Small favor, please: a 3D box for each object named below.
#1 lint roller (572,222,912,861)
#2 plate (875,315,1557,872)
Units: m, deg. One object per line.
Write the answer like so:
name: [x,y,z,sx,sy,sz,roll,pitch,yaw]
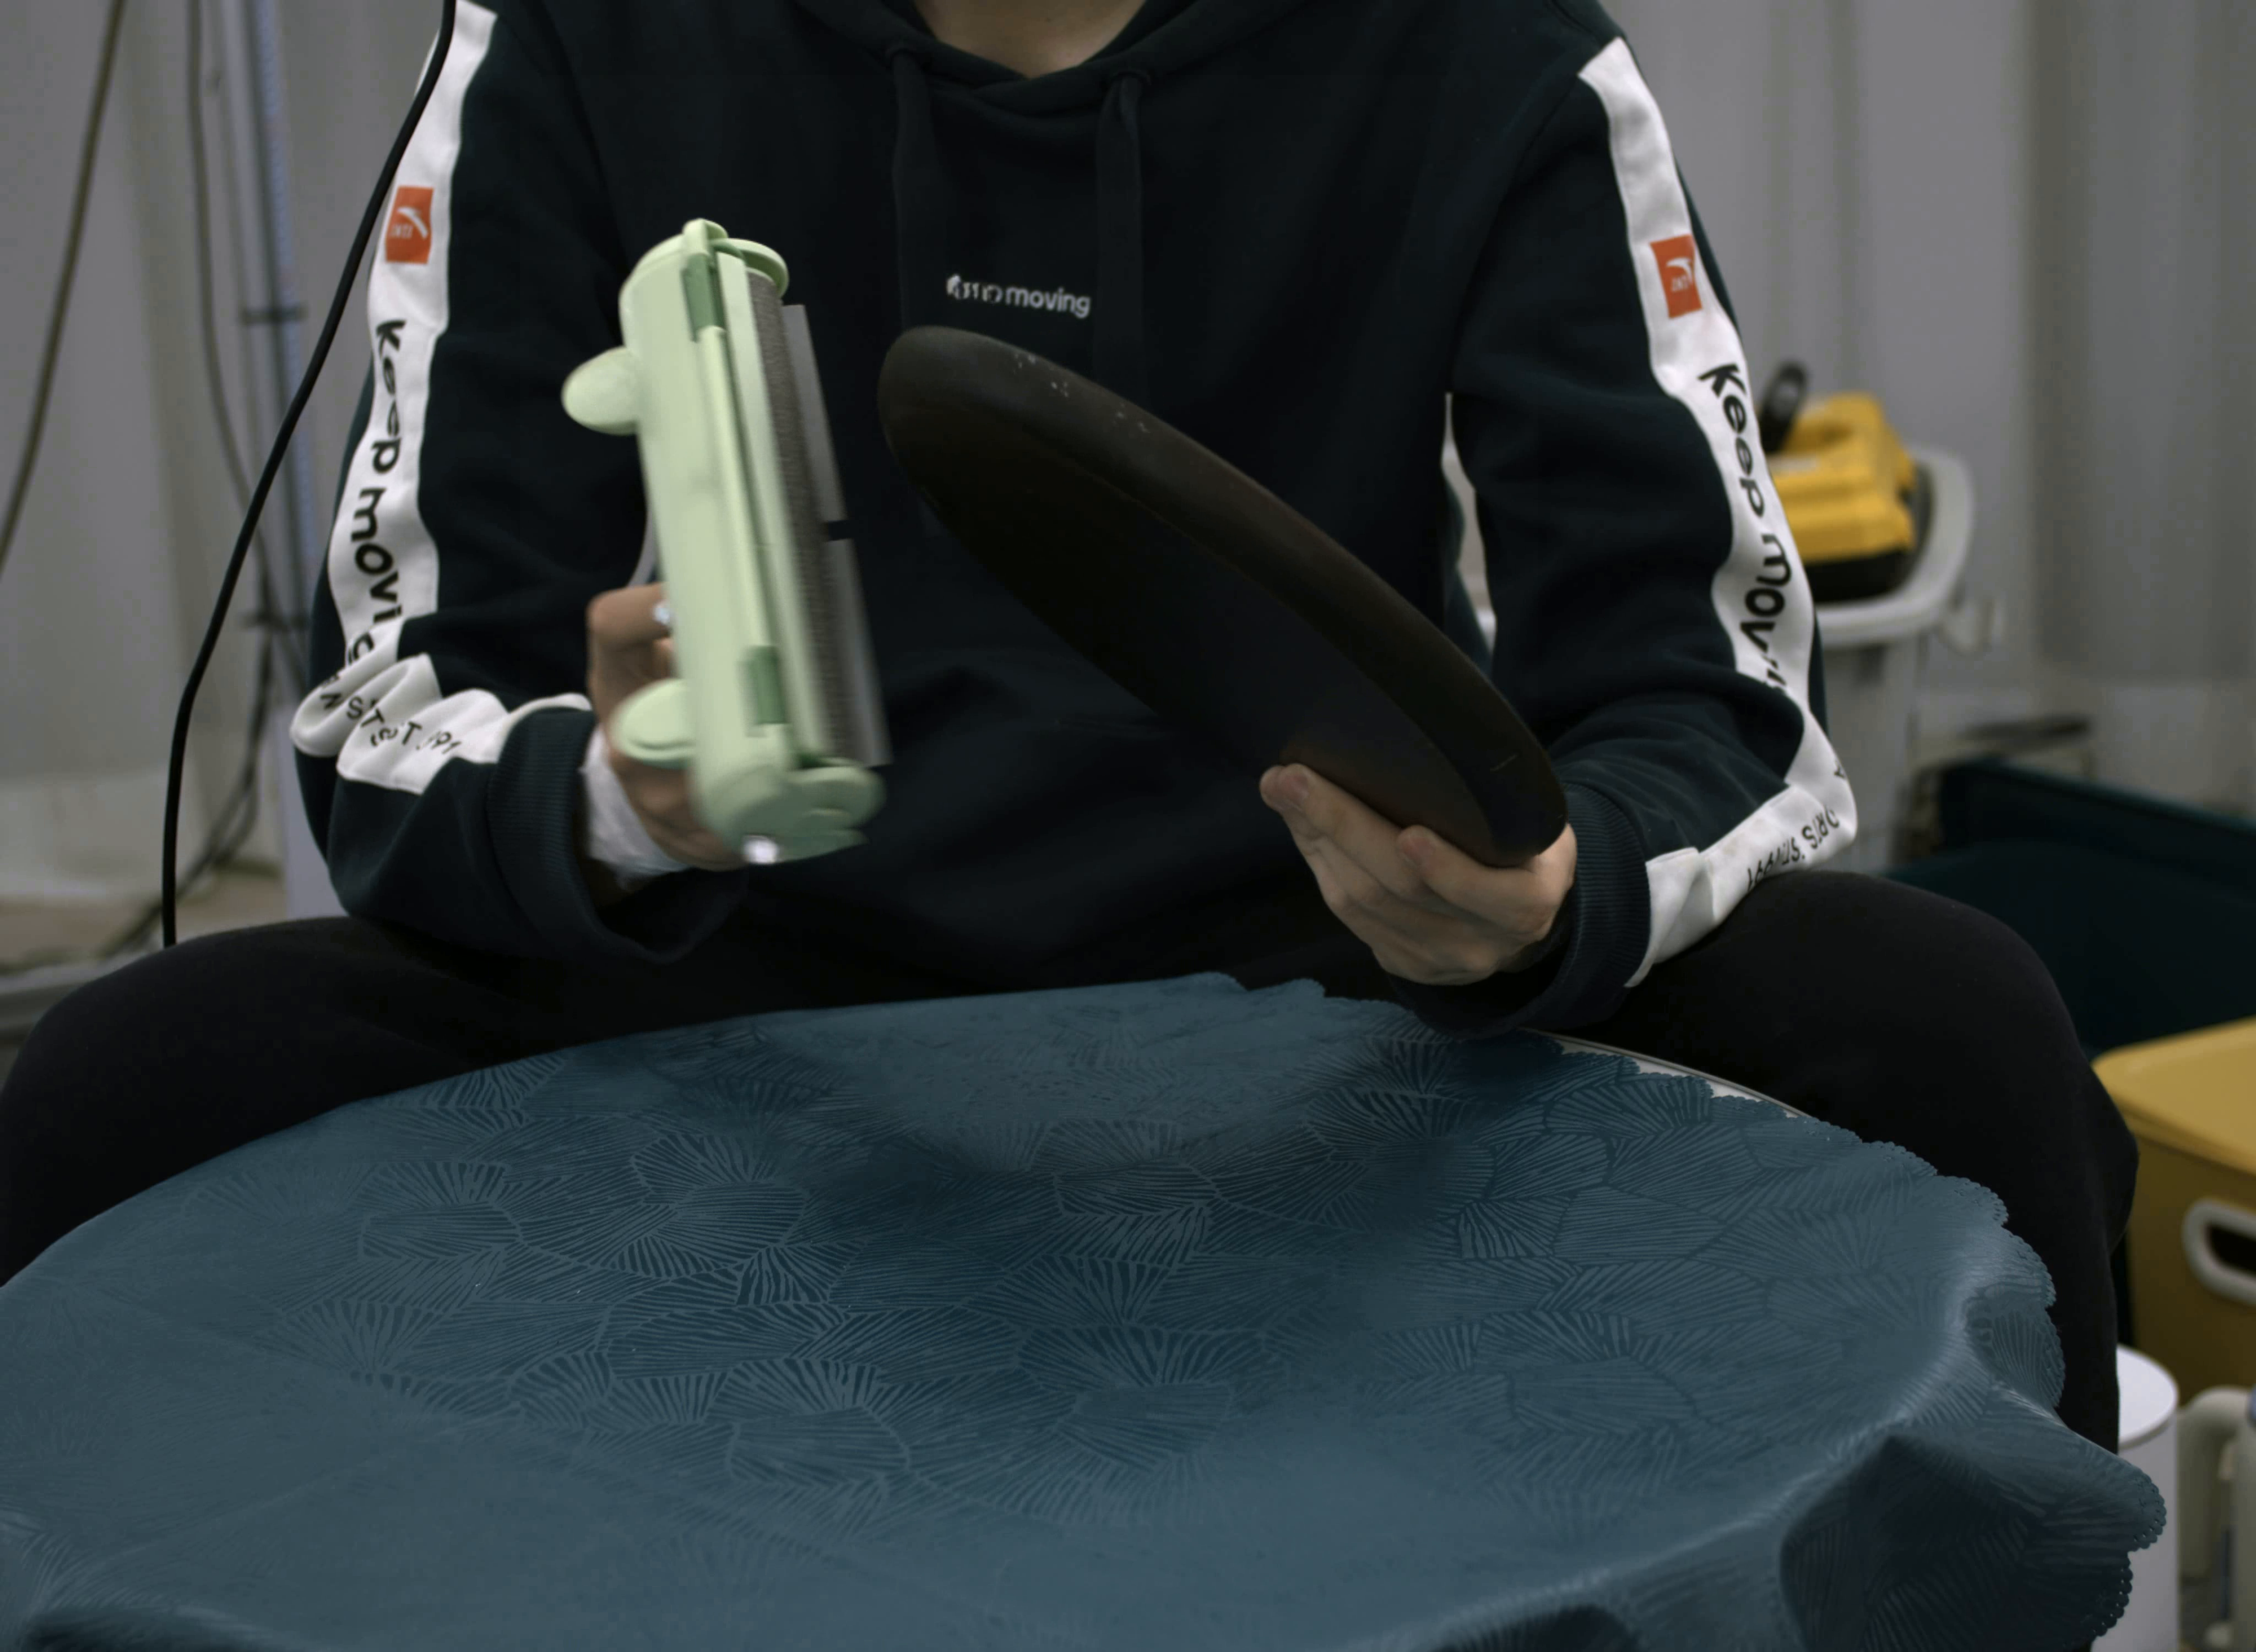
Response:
lint roller: [-0.130,-0.061,1.712,0.082,0.201,0.182,-5,-26,-19]
plate: [0.023,-0.066,1.664,0.029,0.252,0.256,-54,32,-10]
